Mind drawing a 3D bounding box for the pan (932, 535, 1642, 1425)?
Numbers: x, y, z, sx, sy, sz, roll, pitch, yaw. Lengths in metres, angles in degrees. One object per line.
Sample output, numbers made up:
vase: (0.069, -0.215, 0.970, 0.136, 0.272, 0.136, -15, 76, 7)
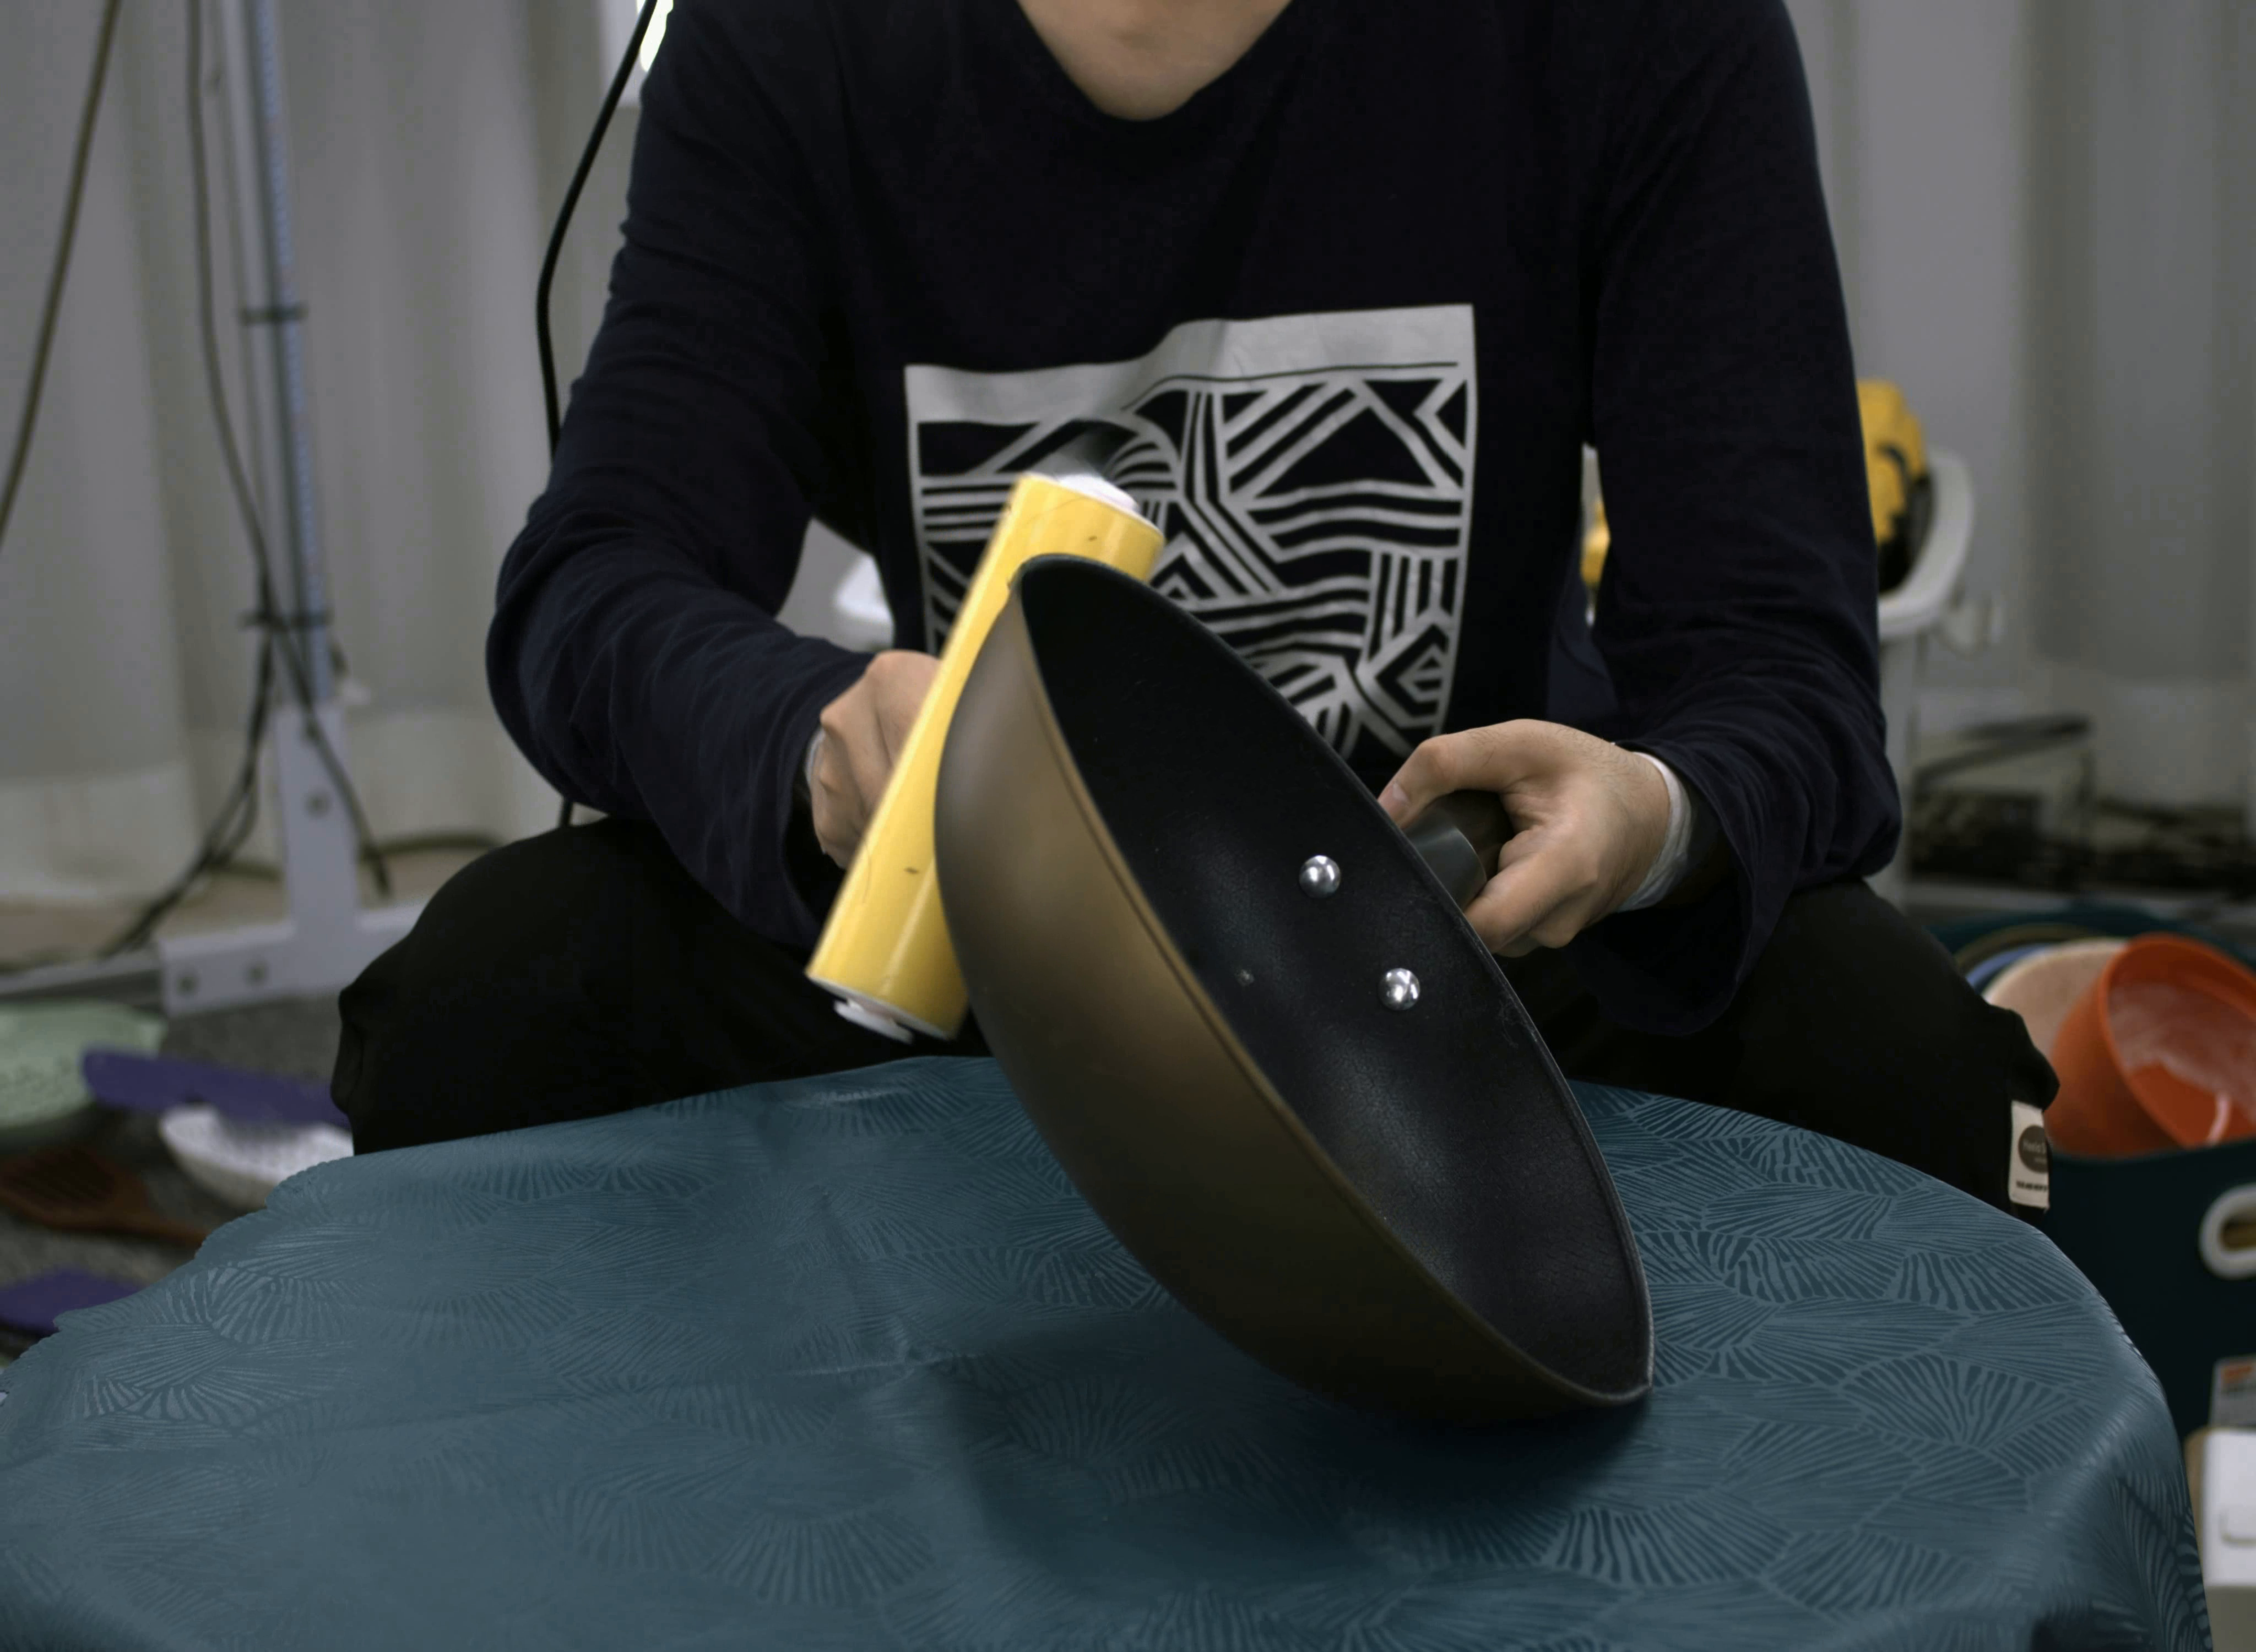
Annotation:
pan: (0.050, 0.042, 1.607, 0.086, 0.288, 0.464, -35, 0, 16)

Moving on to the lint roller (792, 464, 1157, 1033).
lint roller: (-0.059, -0.019, 1.662, 0.051, 0.175, 0.192, 25, -8, -11)
